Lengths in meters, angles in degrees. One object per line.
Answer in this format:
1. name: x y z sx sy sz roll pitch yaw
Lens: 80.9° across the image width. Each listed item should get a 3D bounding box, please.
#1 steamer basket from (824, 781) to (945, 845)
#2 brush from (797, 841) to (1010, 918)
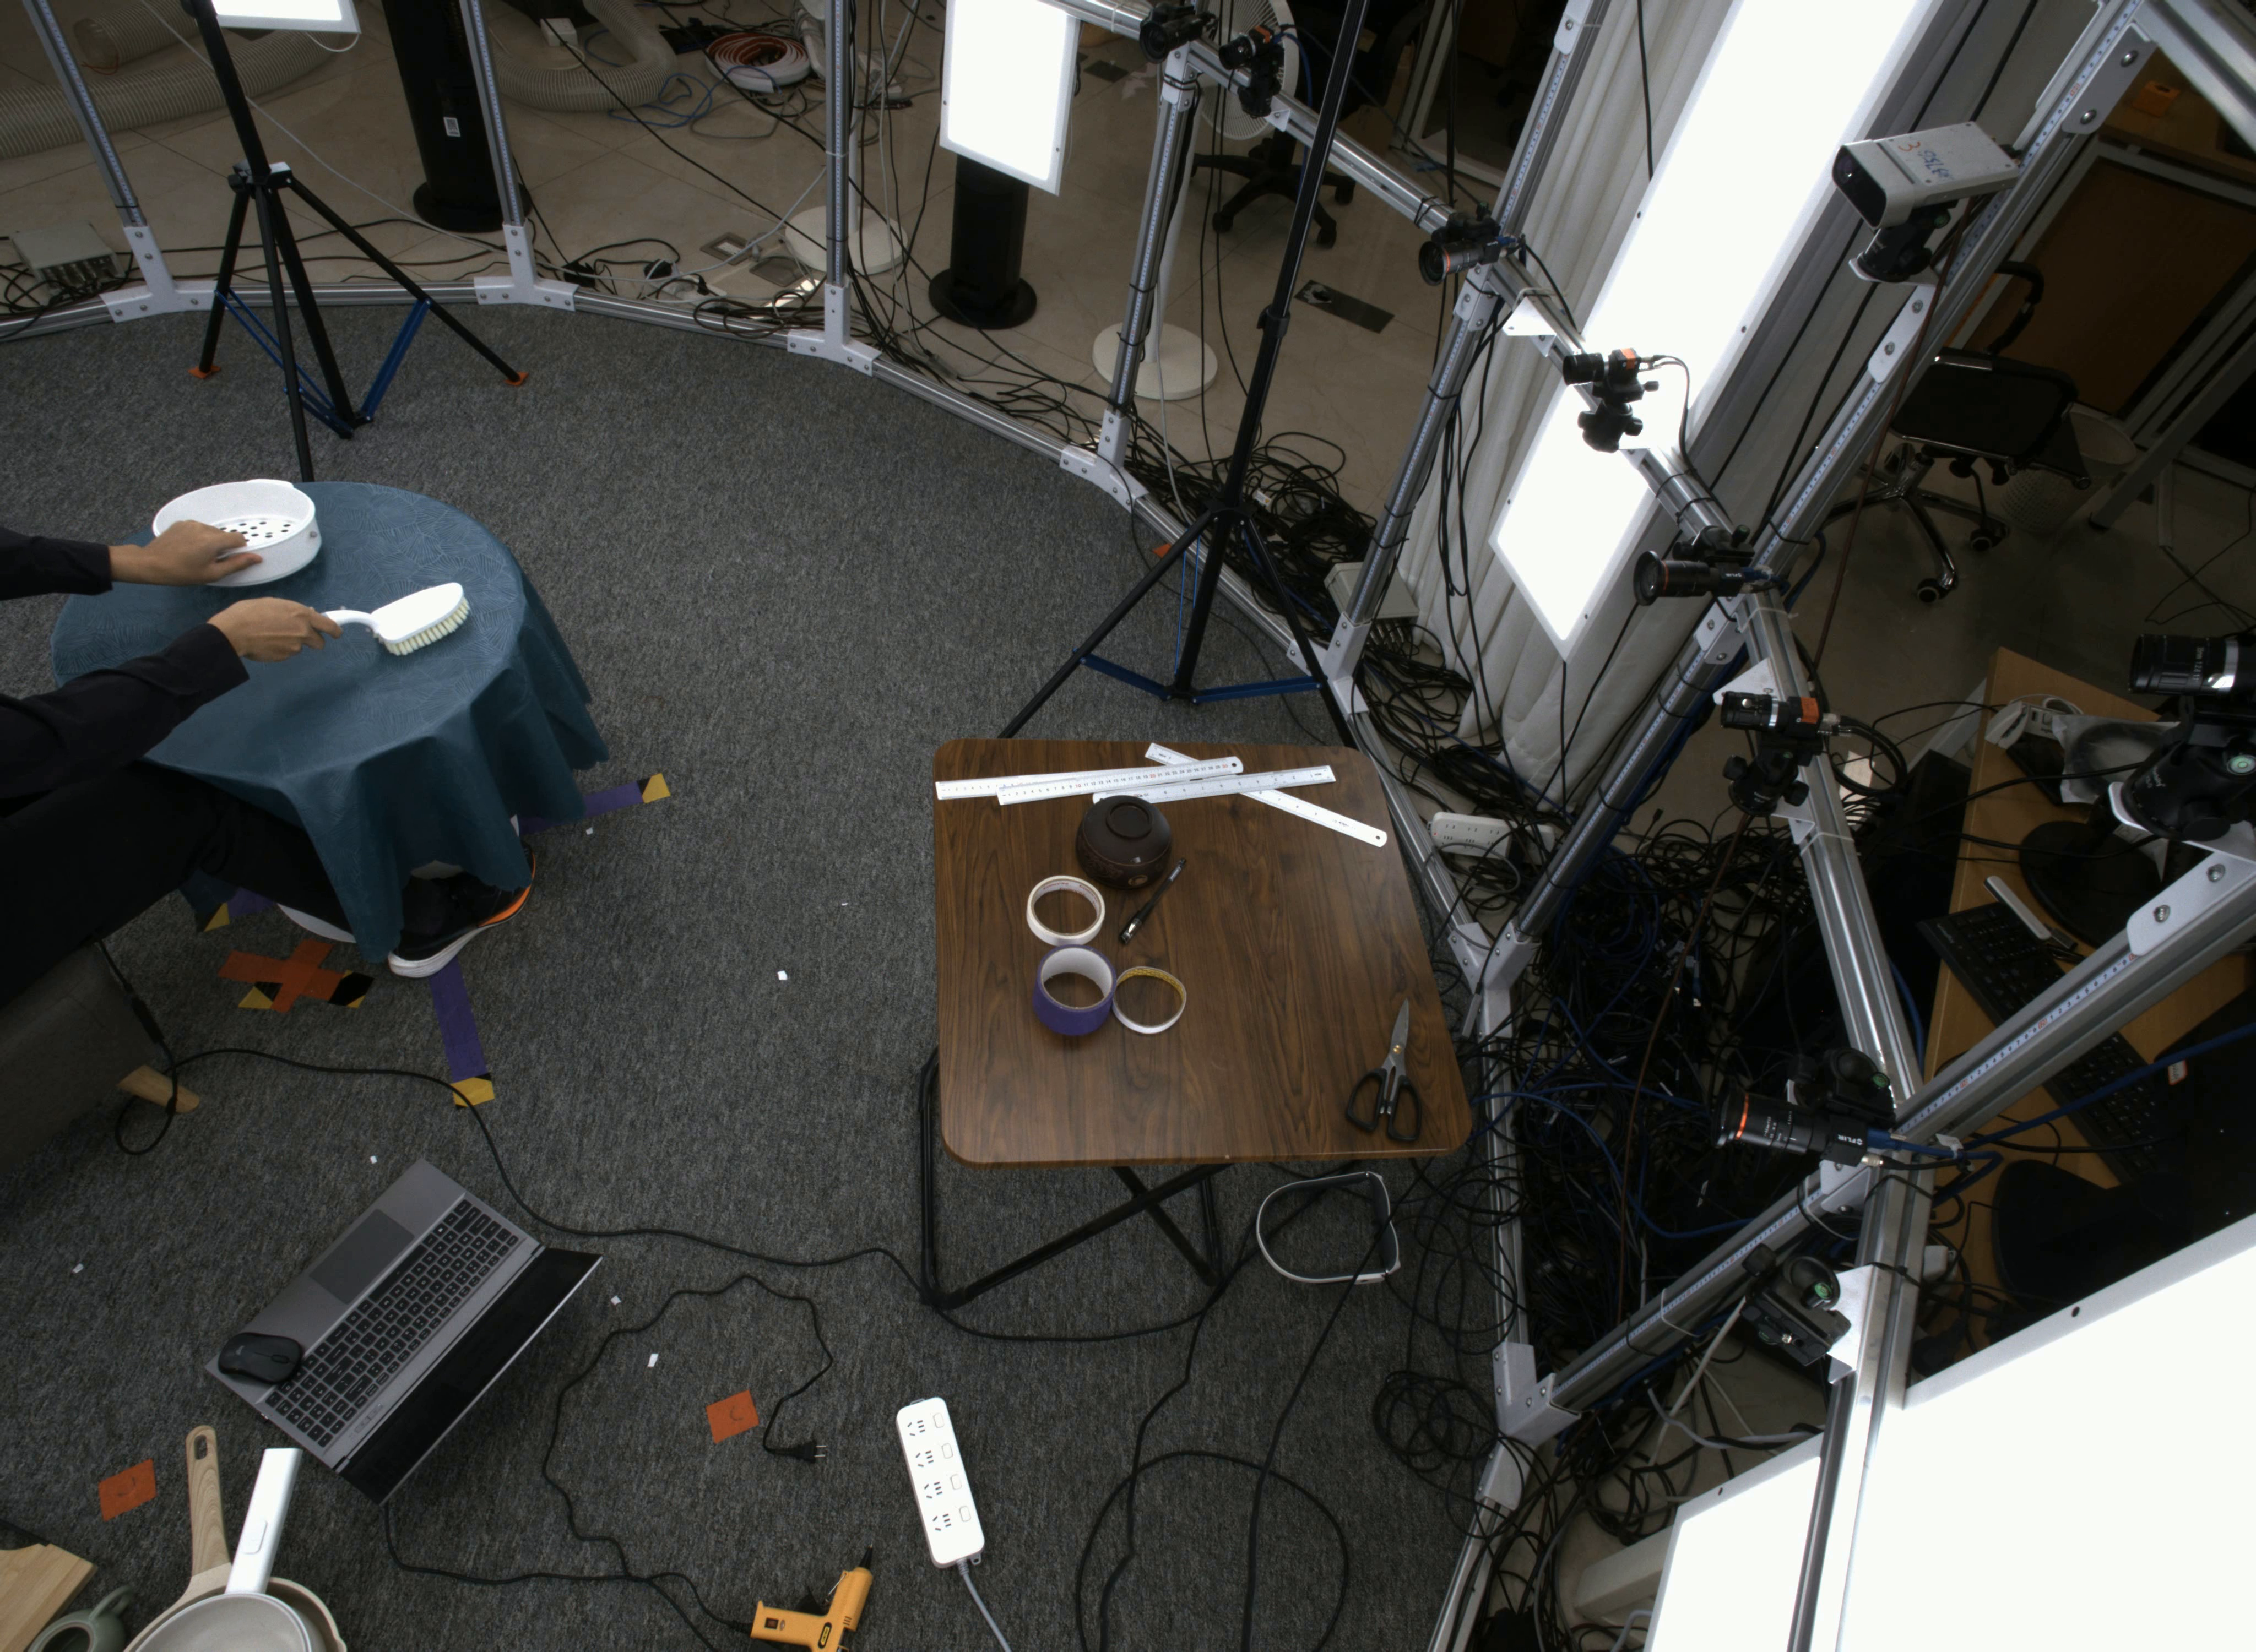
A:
1. steamer basket: -0.409 -0.022 2.172 0.195 0.070 0.234 16 14 29
2. brush: -0.337 0.089 1.954 0.328 0.084 0.082 9 -14 -19
